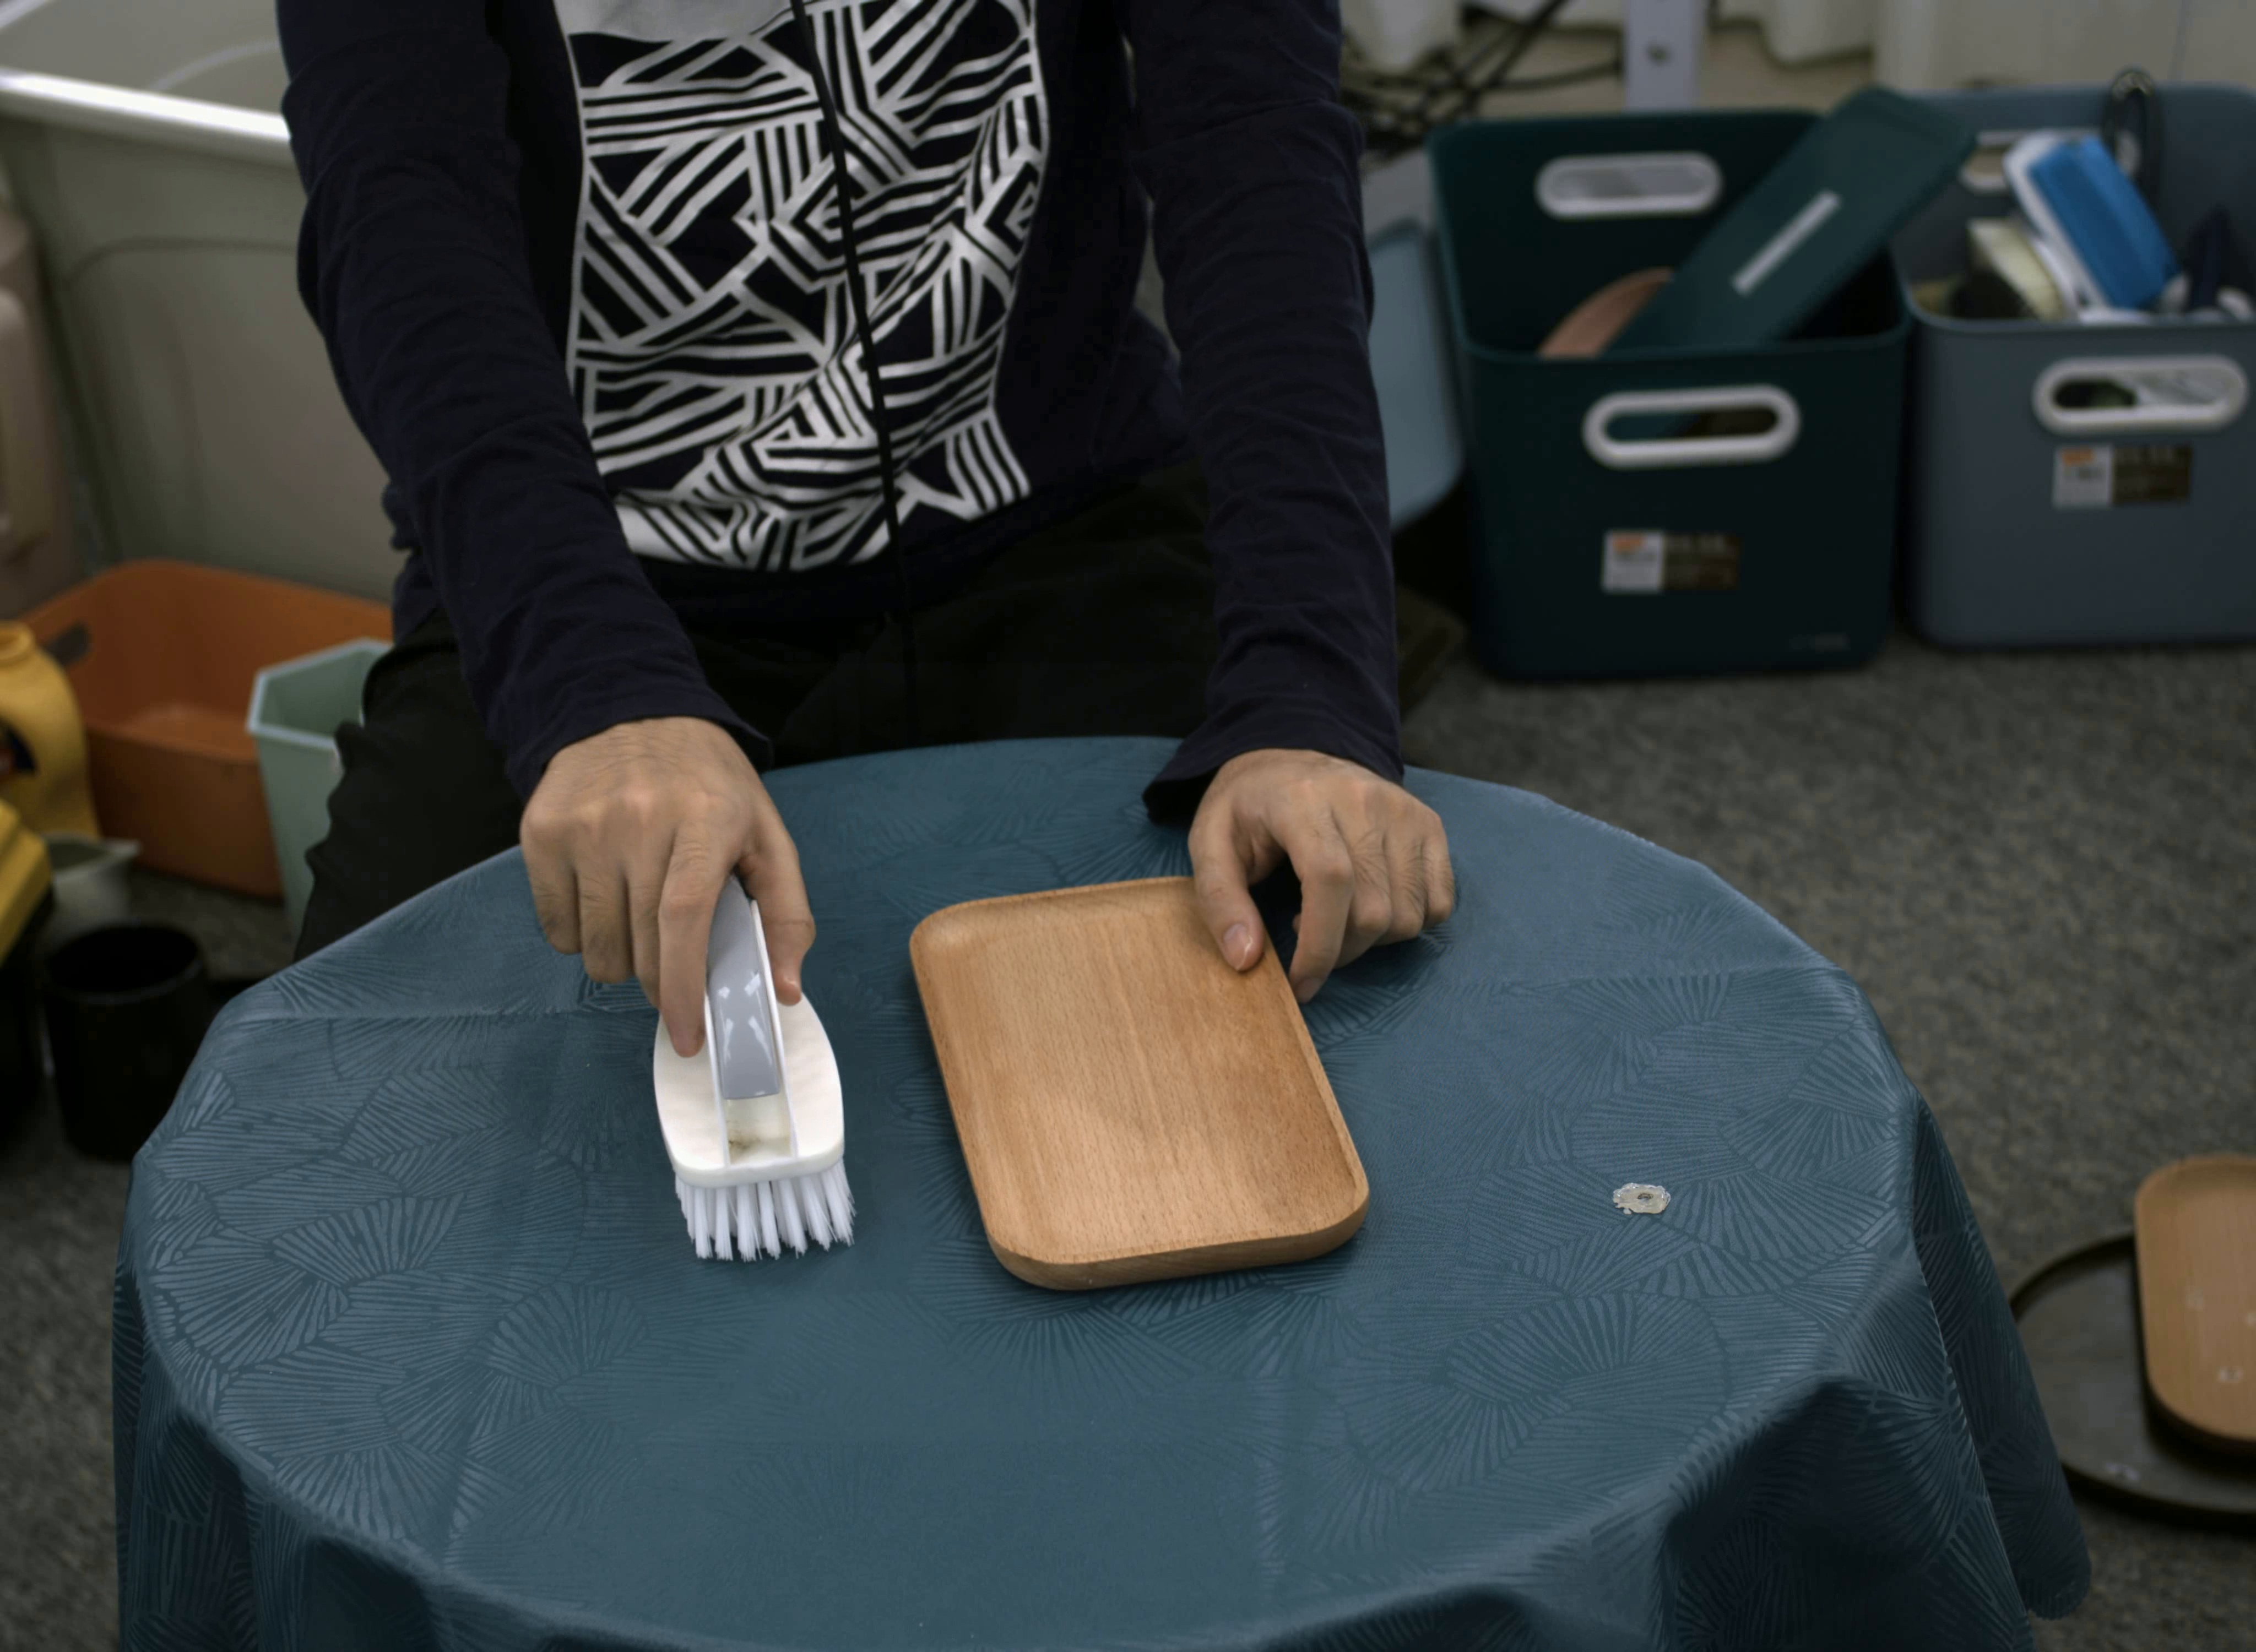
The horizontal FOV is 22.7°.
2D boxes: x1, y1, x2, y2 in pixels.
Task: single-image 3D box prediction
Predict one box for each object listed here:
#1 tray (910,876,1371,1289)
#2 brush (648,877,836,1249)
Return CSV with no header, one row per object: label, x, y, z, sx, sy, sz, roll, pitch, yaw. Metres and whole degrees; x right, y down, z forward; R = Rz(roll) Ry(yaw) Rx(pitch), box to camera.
tray,0.001,0.084,1.914,0.130,0.022,0.254,-4,26,-7
brush,-0.133,0.064,1.886,0.061,0.093,0.177,-6,25,-5
